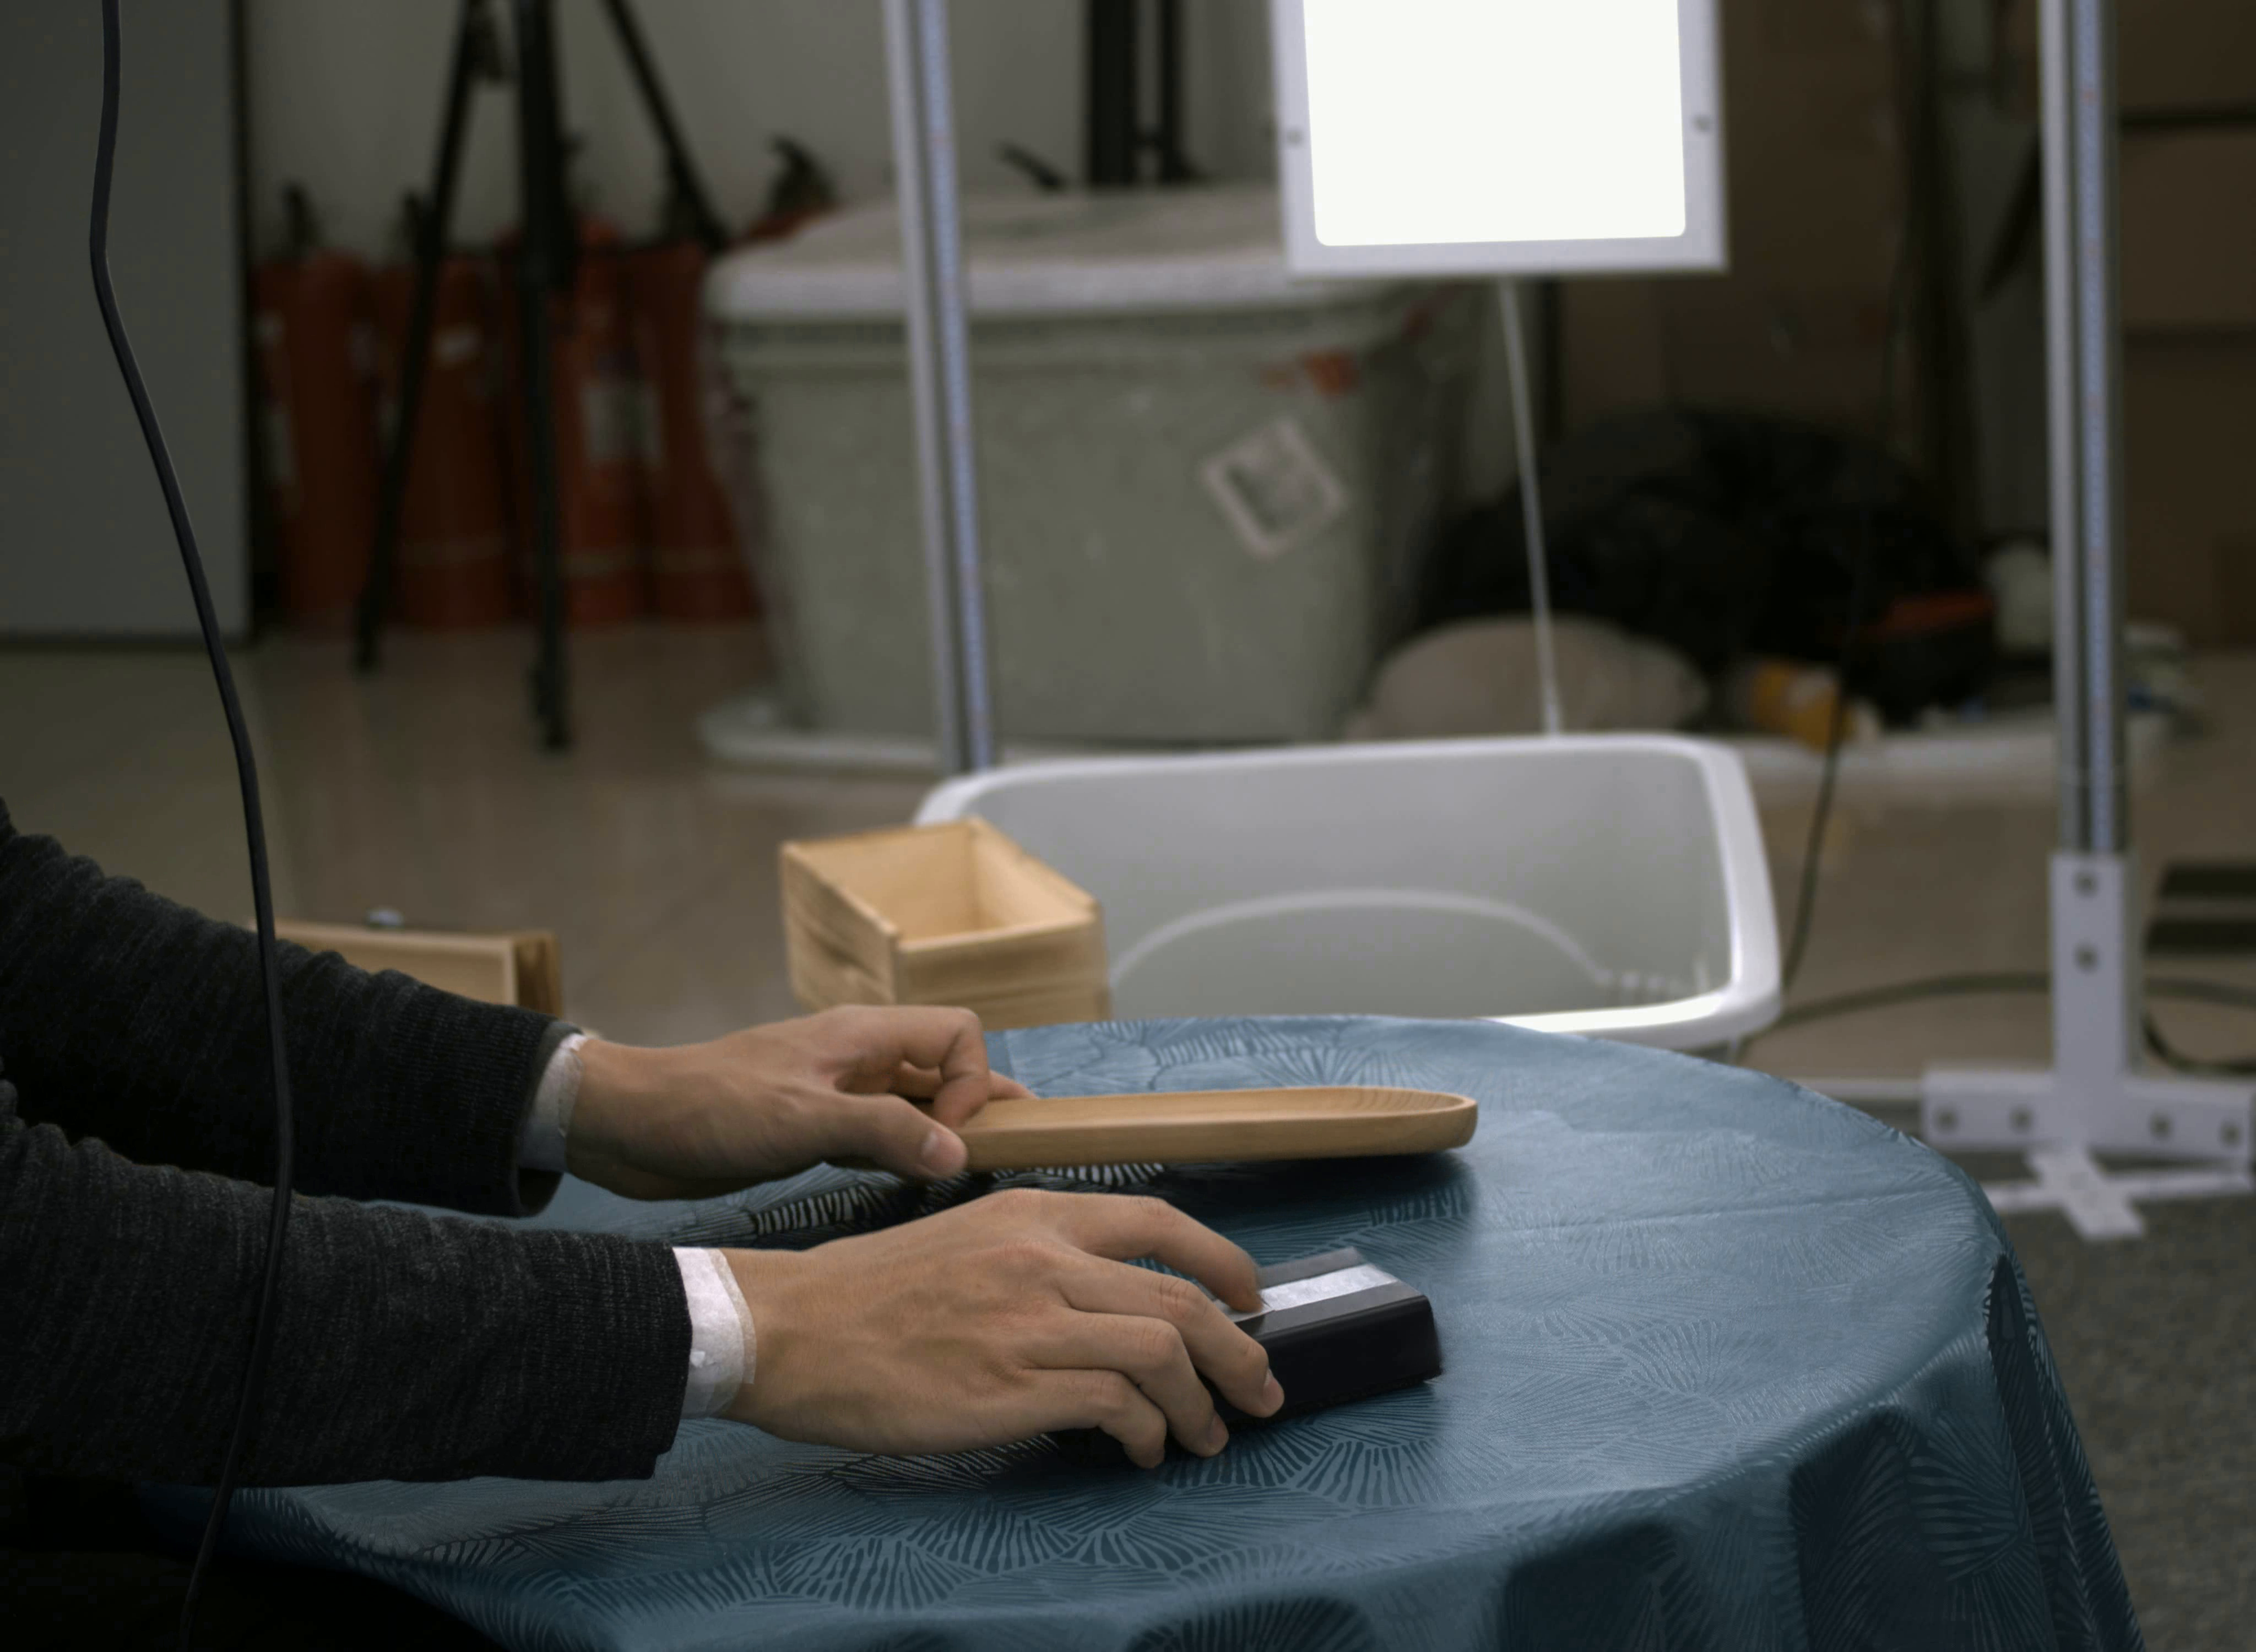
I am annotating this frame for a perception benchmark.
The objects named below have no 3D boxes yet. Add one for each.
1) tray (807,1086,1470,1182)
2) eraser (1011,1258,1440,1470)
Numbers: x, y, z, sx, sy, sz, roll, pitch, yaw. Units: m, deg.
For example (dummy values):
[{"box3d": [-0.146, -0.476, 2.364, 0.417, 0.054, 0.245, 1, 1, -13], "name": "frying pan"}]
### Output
[{"box3d": [0.005, 0.106, 1.890, 0.228, 0.020, 0.102, -4, 3, -10], "name": "tray"}, {"box3d": [0.031, 0.162, 1.674, 0.123, 0.030, 0.054, -12, 18, -26], "name": "eraser"}]
